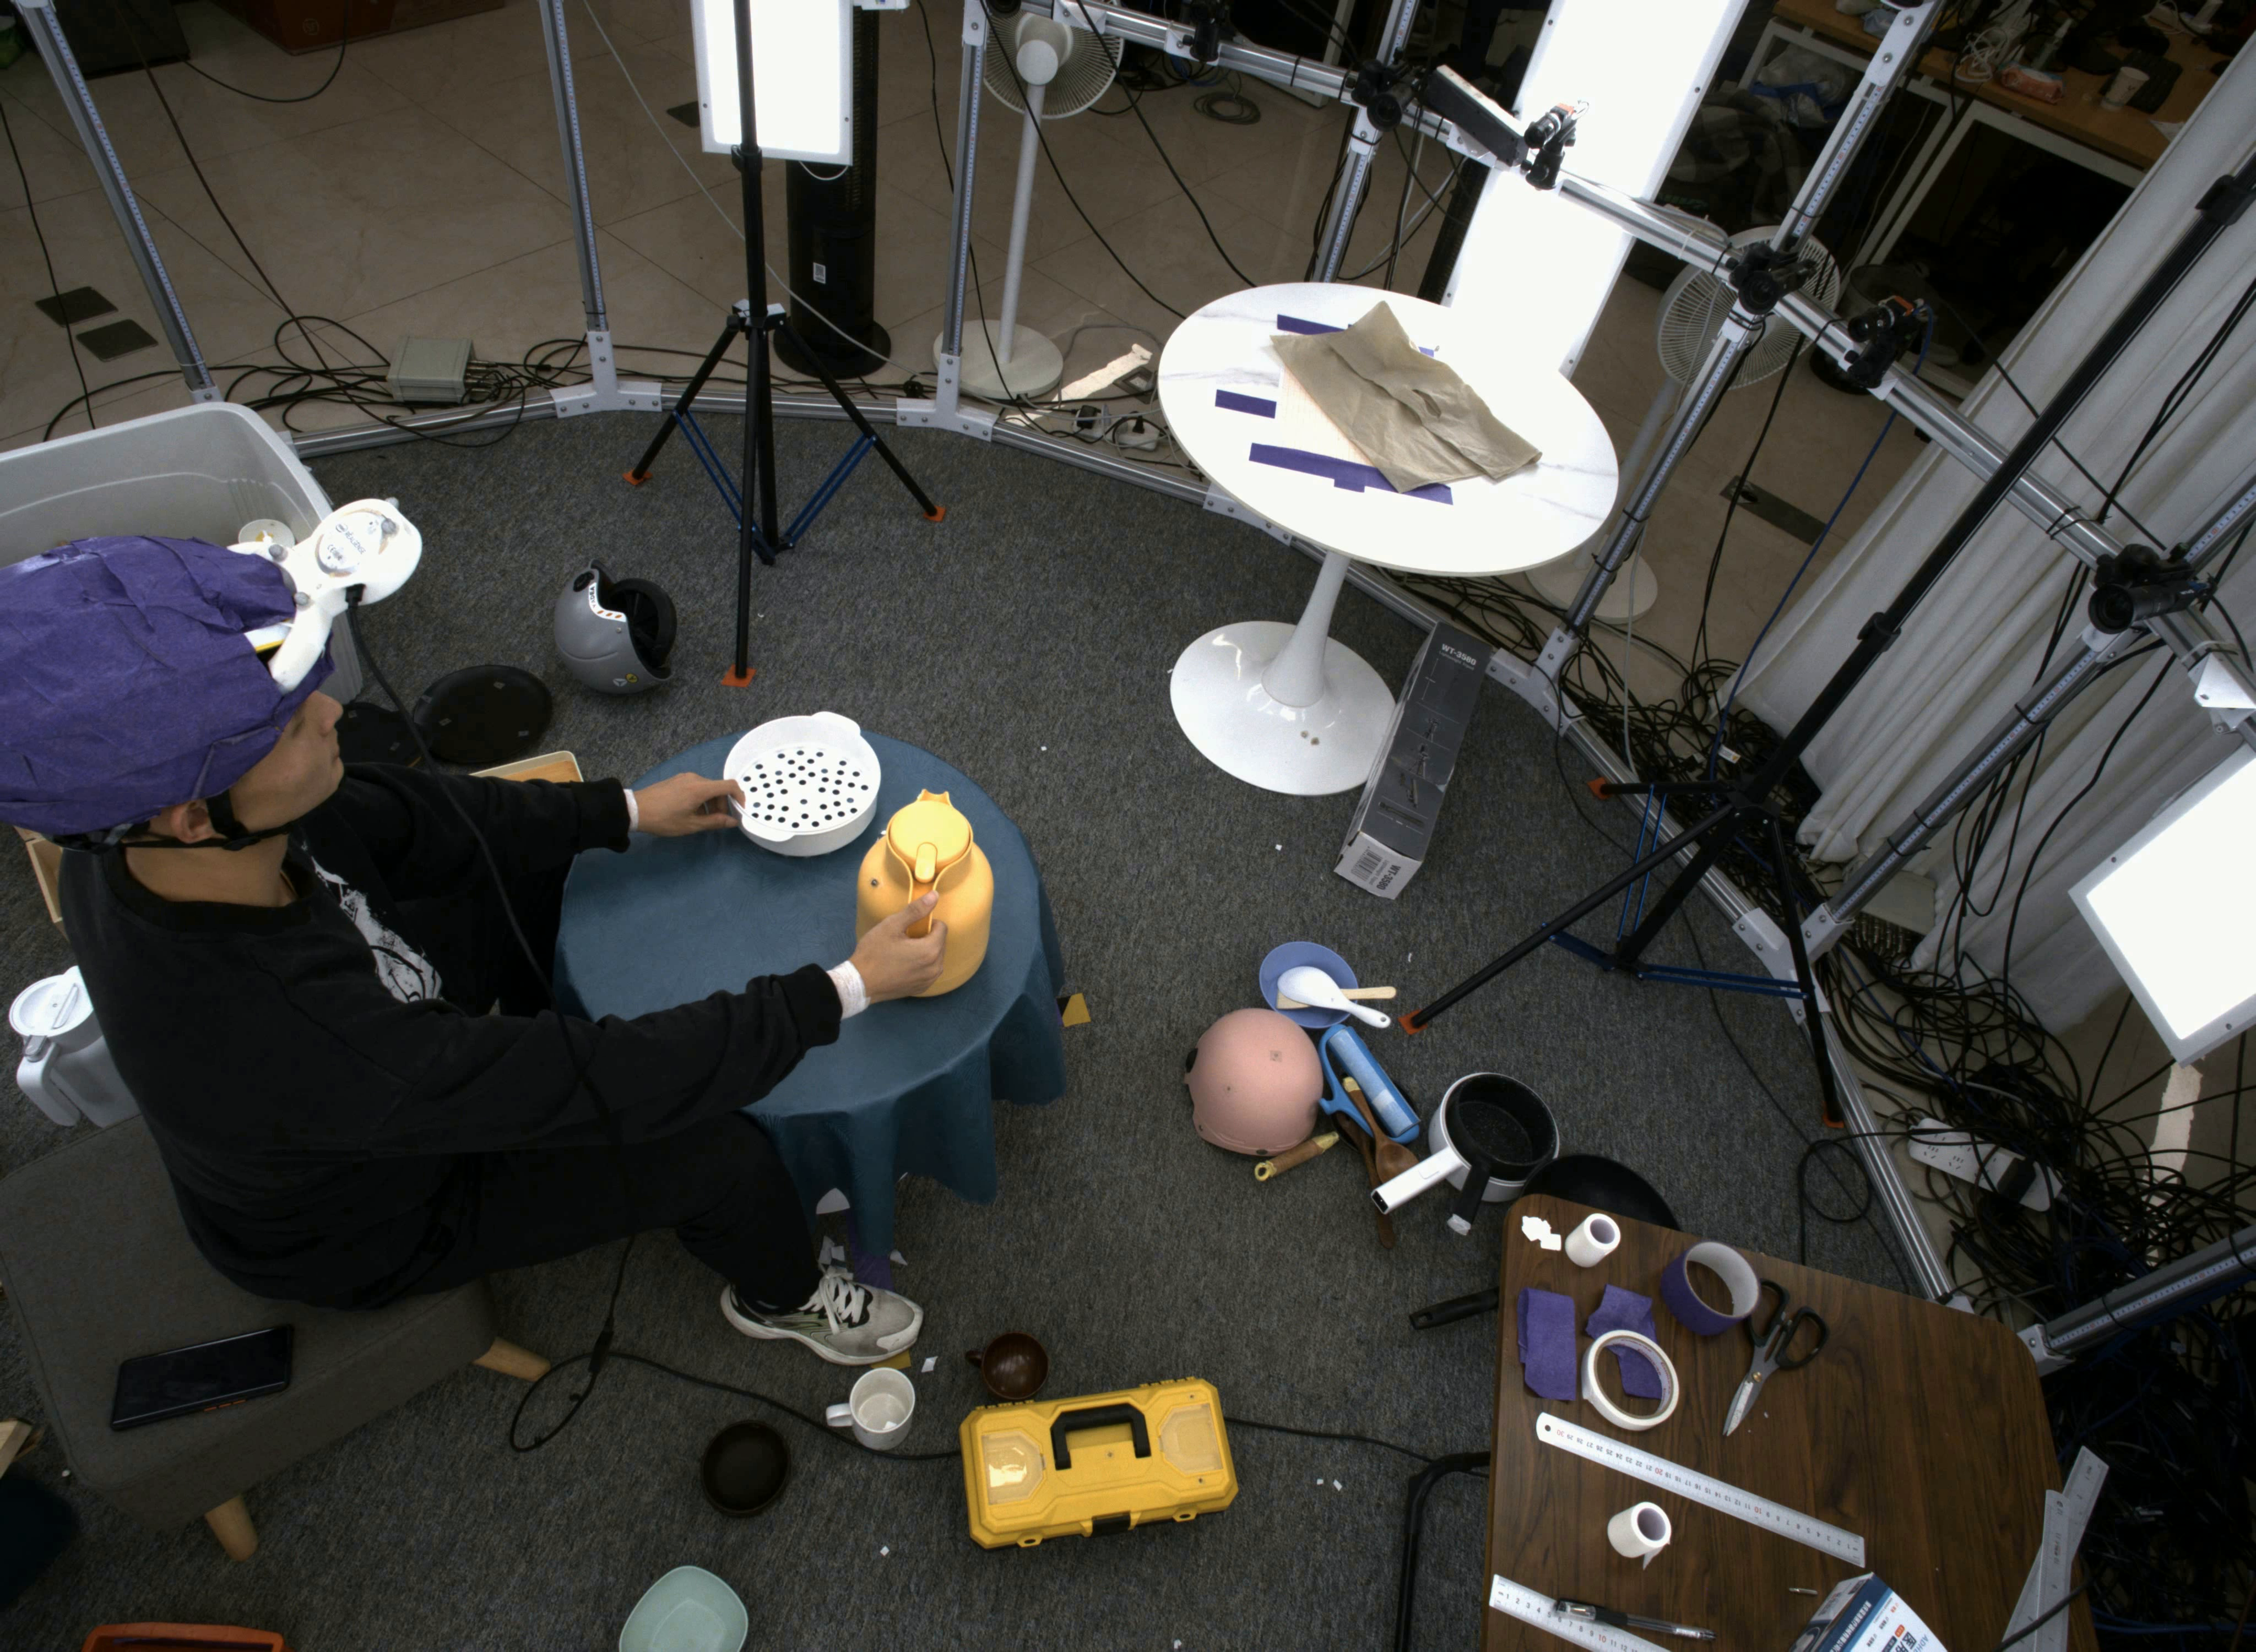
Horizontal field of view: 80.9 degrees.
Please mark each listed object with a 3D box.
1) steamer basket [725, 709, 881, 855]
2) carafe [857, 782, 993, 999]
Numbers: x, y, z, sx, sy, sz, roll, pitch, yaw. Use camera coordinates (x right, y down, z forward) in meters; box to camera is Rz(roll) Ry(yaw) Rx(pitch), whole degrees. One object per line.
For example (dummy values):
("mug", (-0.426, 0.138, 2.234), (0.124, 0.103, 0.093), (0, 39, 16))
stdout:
("steamer basket", (-0.430, -0.054, 1.720), (0.200, 0.070, 0.228), (21, 51, 1))
("carafe", (-0.242, 0.090, 1.530), (0.162, 0.267, 0.199), (6, 50, -4))
